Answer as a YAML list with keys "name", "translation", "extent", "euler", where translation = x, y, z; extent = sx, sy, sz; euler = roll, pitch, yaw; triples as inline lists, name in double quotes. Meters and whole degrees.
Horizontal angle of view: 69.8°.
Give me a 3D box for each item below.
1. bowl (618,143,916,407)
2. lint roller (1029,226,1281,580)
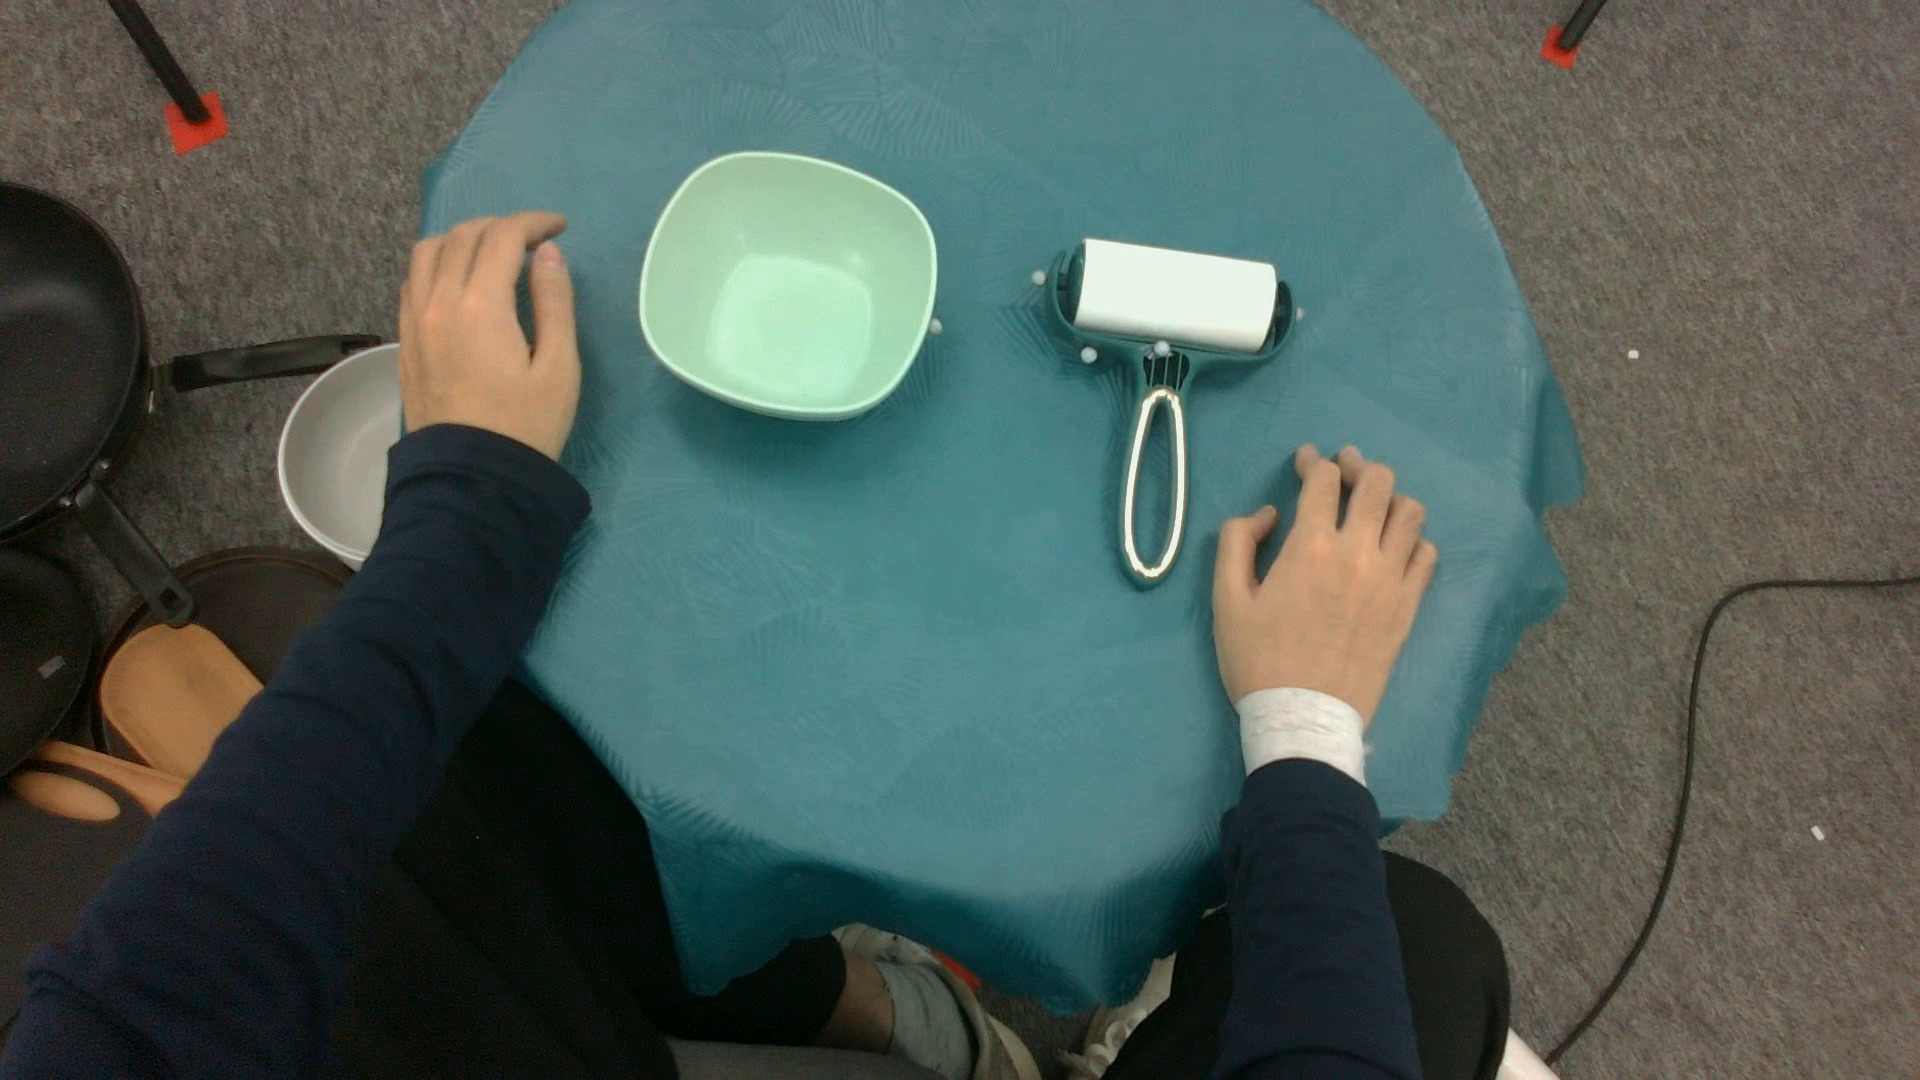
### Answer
- name: "bowl"
  translation: [-0.095, -0.123, 0.690]
  extent: [0.151, 0.058, 0.152]
  euler: [3, 67, -8]
- name: "lint roller"
  translation: [0.096, -0.072, 0.707]
  extent: [0.134, 0.048, 0.180]
  euler: [7, 72, -5]
